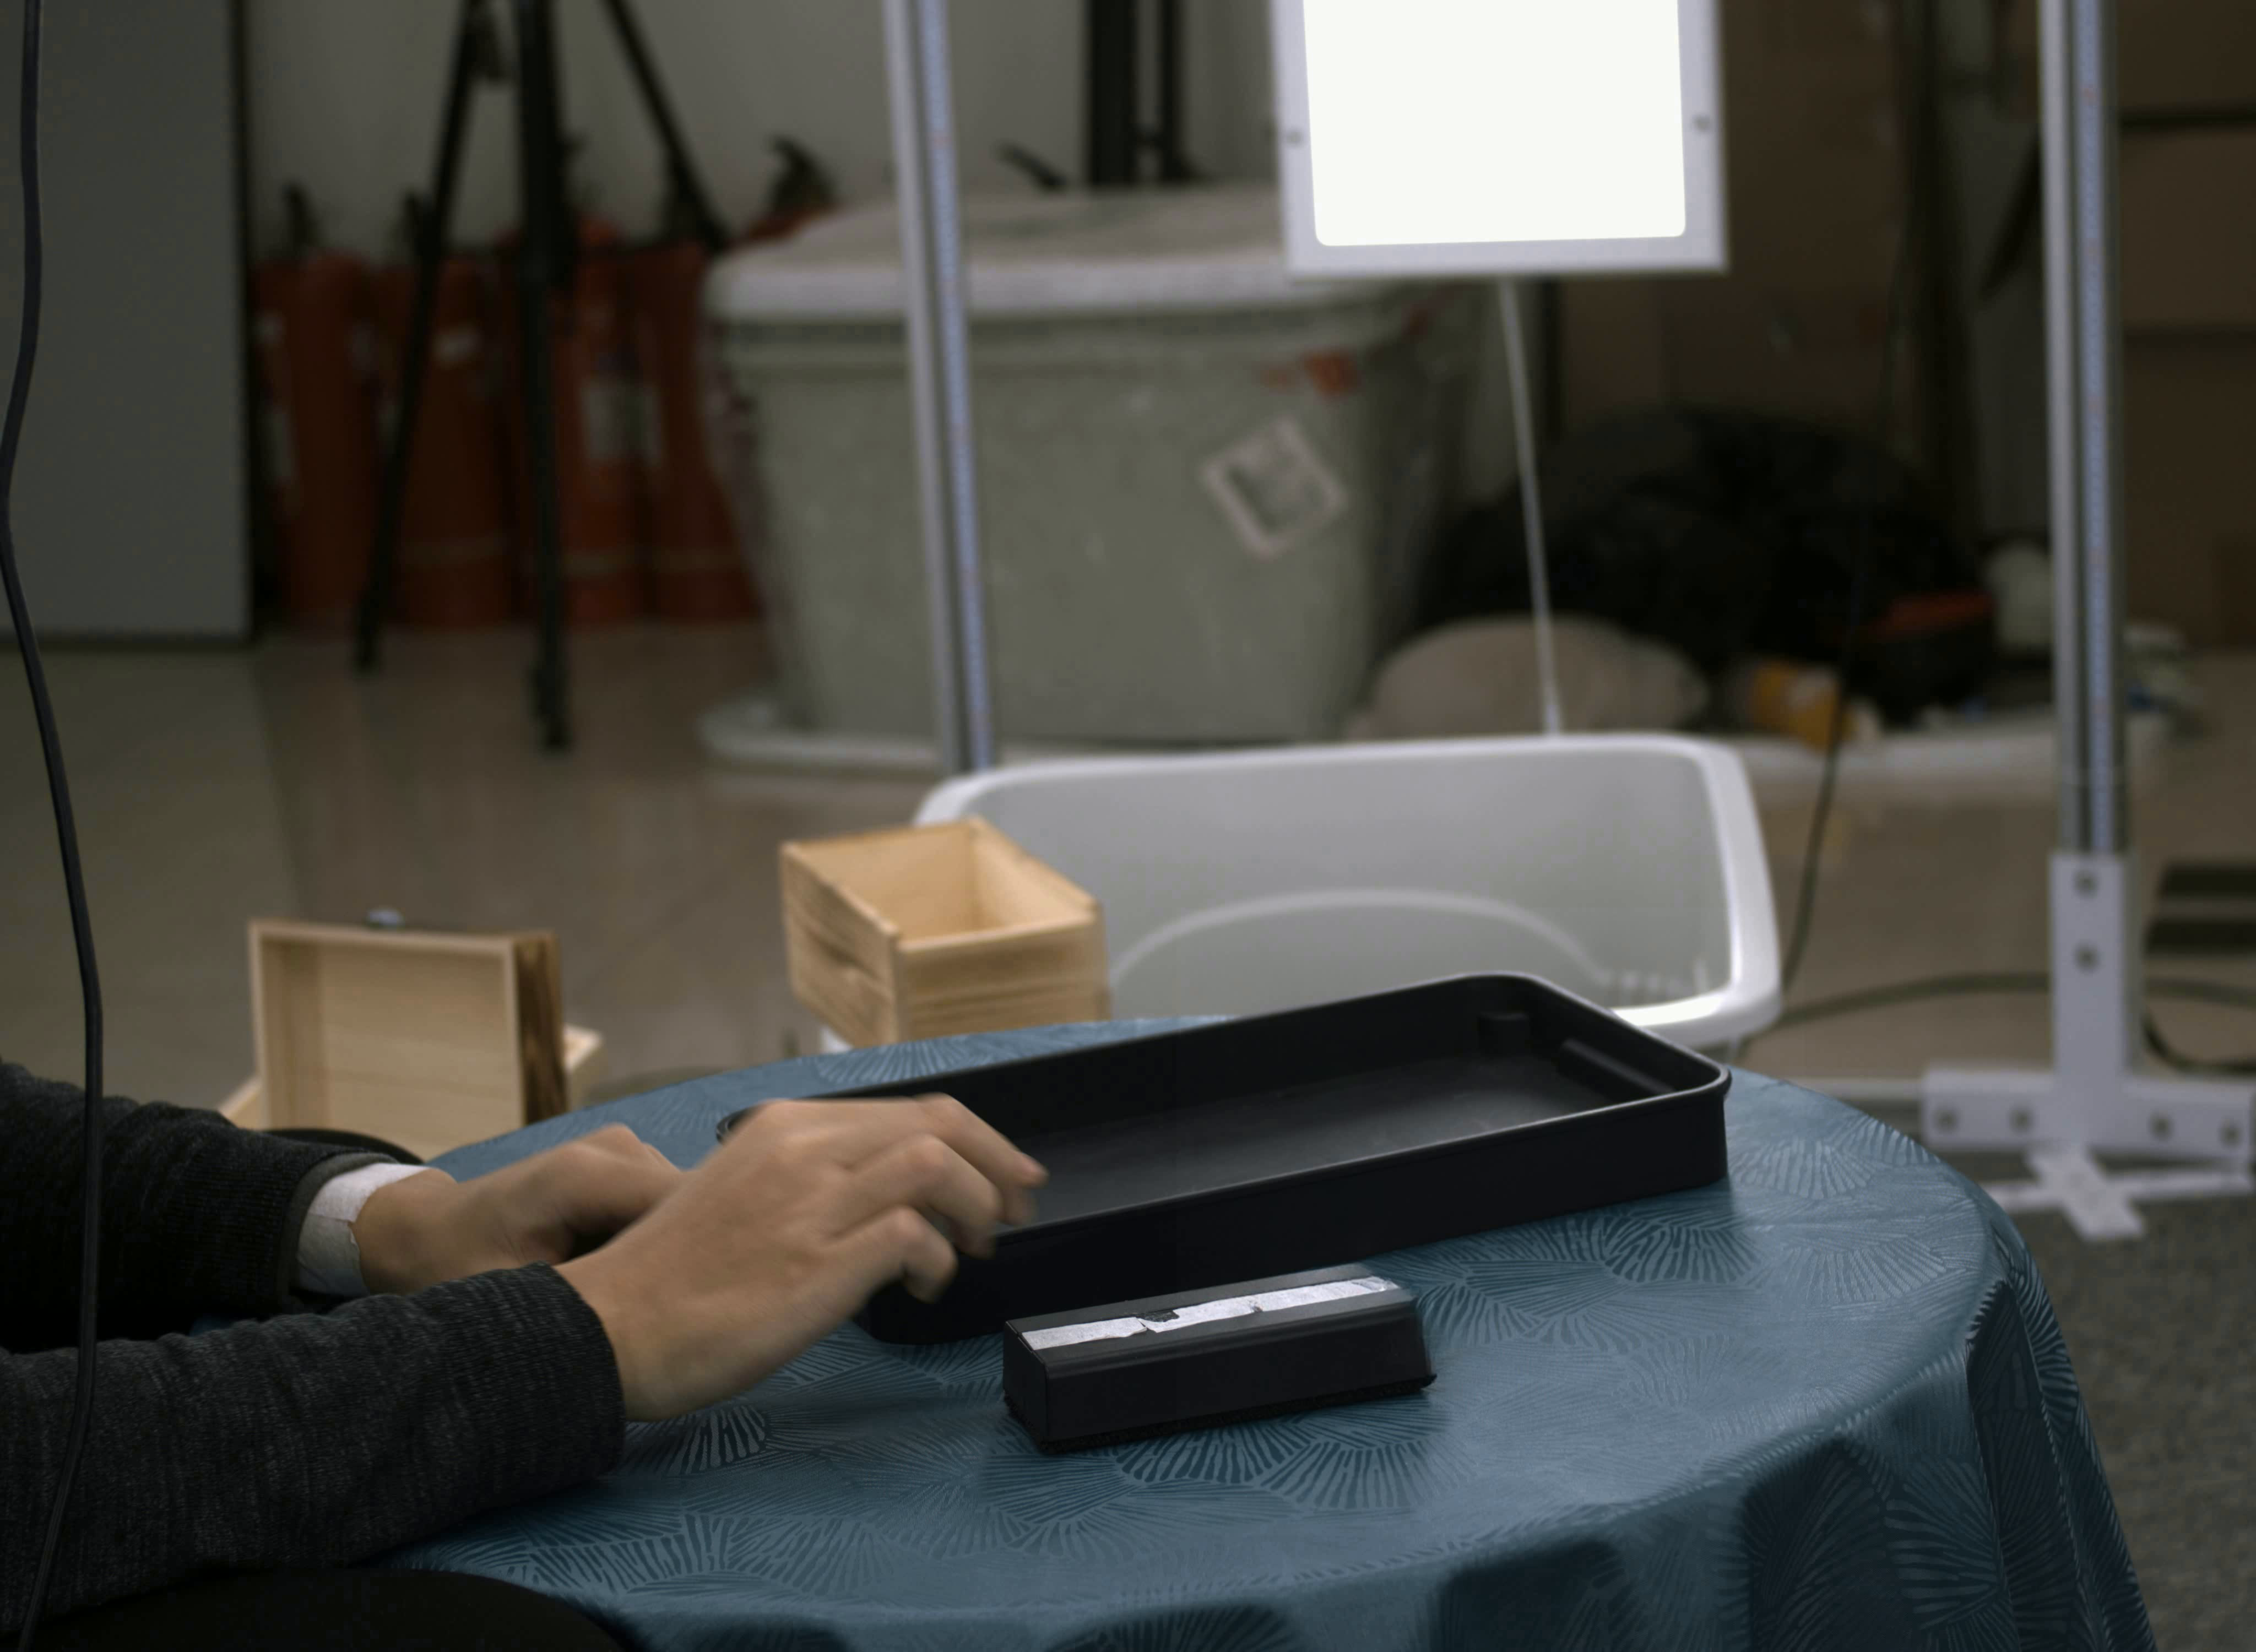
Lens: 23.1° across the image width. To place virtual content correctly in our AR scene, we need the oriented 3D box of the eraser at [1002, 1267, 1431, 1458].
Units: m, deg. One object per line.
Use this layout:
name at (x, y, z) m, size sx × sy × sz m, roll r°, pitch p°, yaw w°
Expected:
eraser at (0.028, 0.163, 1.682) m, size 0.124 × 0.030 × 0.054 m, roll -10°, pitch 12°, yaw -13°

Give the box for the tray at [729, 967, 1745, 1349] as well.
tray at (0.038, 0.109, 1.883) m, size 0.312 × 0.037 × 0.187 m, roll -11°, pitch 15°, yaw -20°
